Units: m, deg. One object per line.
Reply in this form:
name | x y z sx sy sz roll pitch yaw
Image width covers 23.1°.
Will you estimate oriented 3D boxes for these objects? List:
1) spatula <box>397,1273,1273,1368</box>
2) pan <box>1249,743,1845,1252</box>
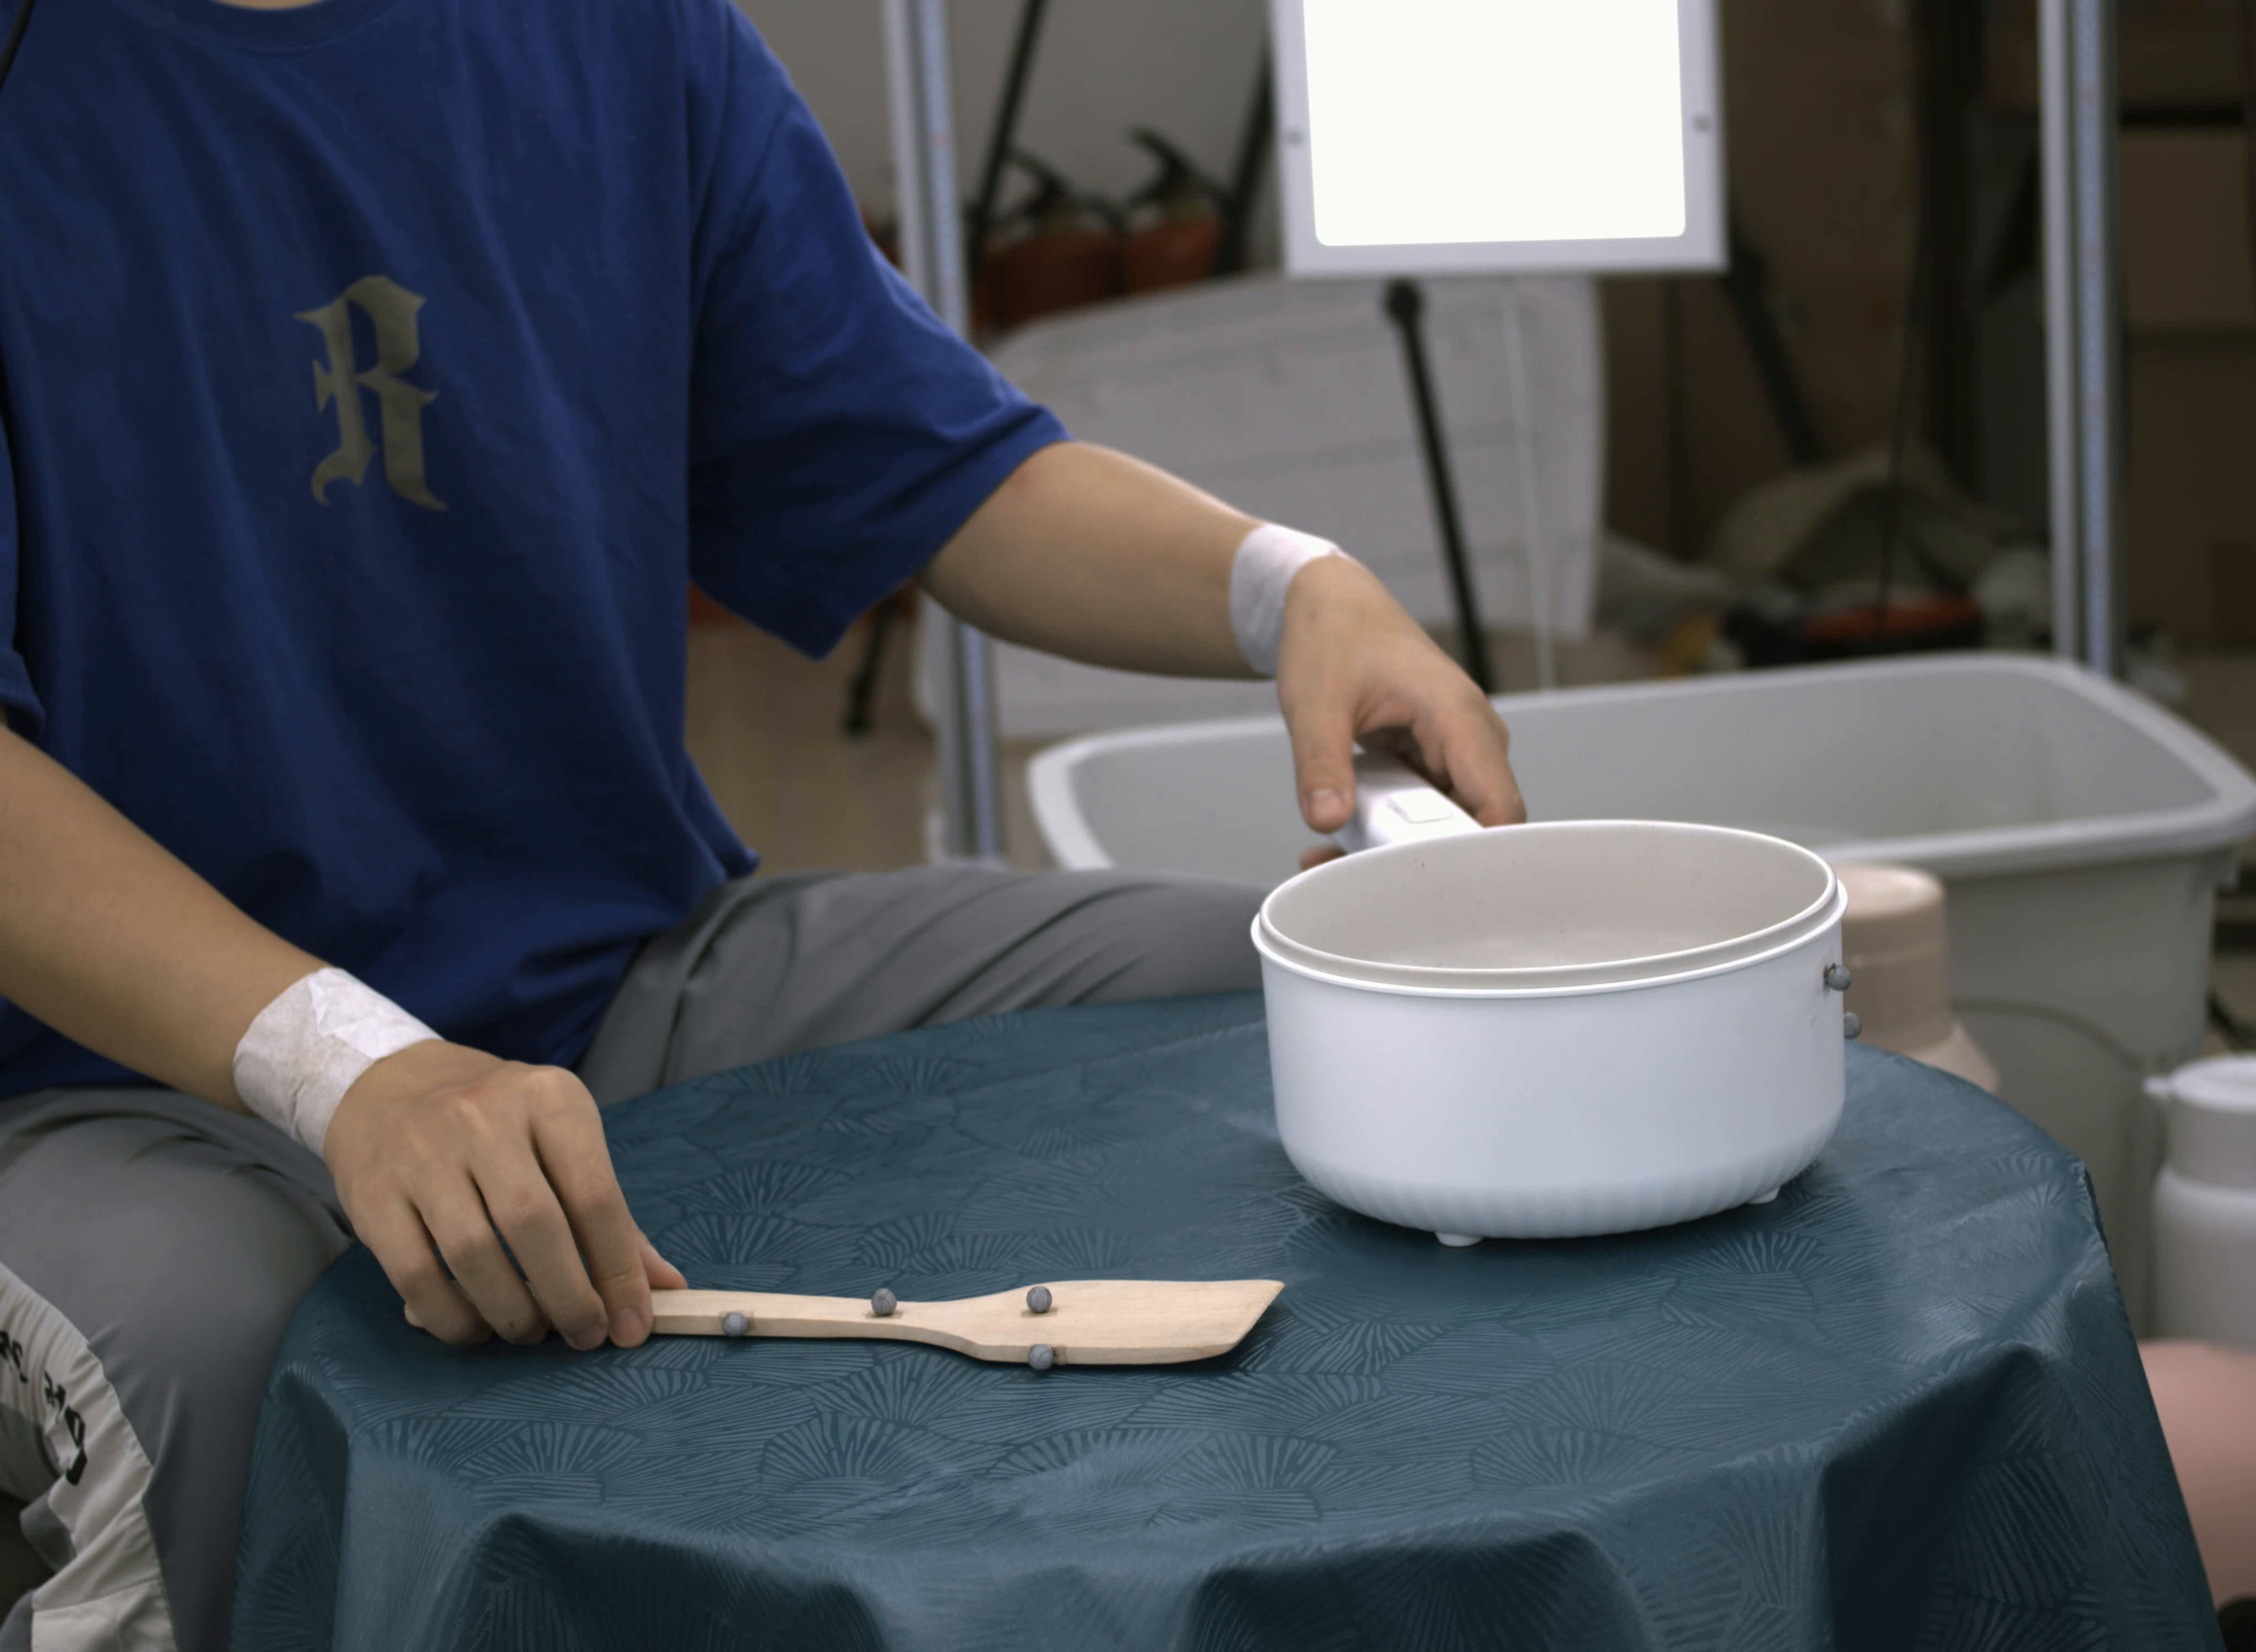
spatula | -0.100 0.157 1.784 0.296 0.011 0.071 0 14 18
pan | 0.129 0.055 1.933 0.199 0.102 0.357 -9 14 -10
